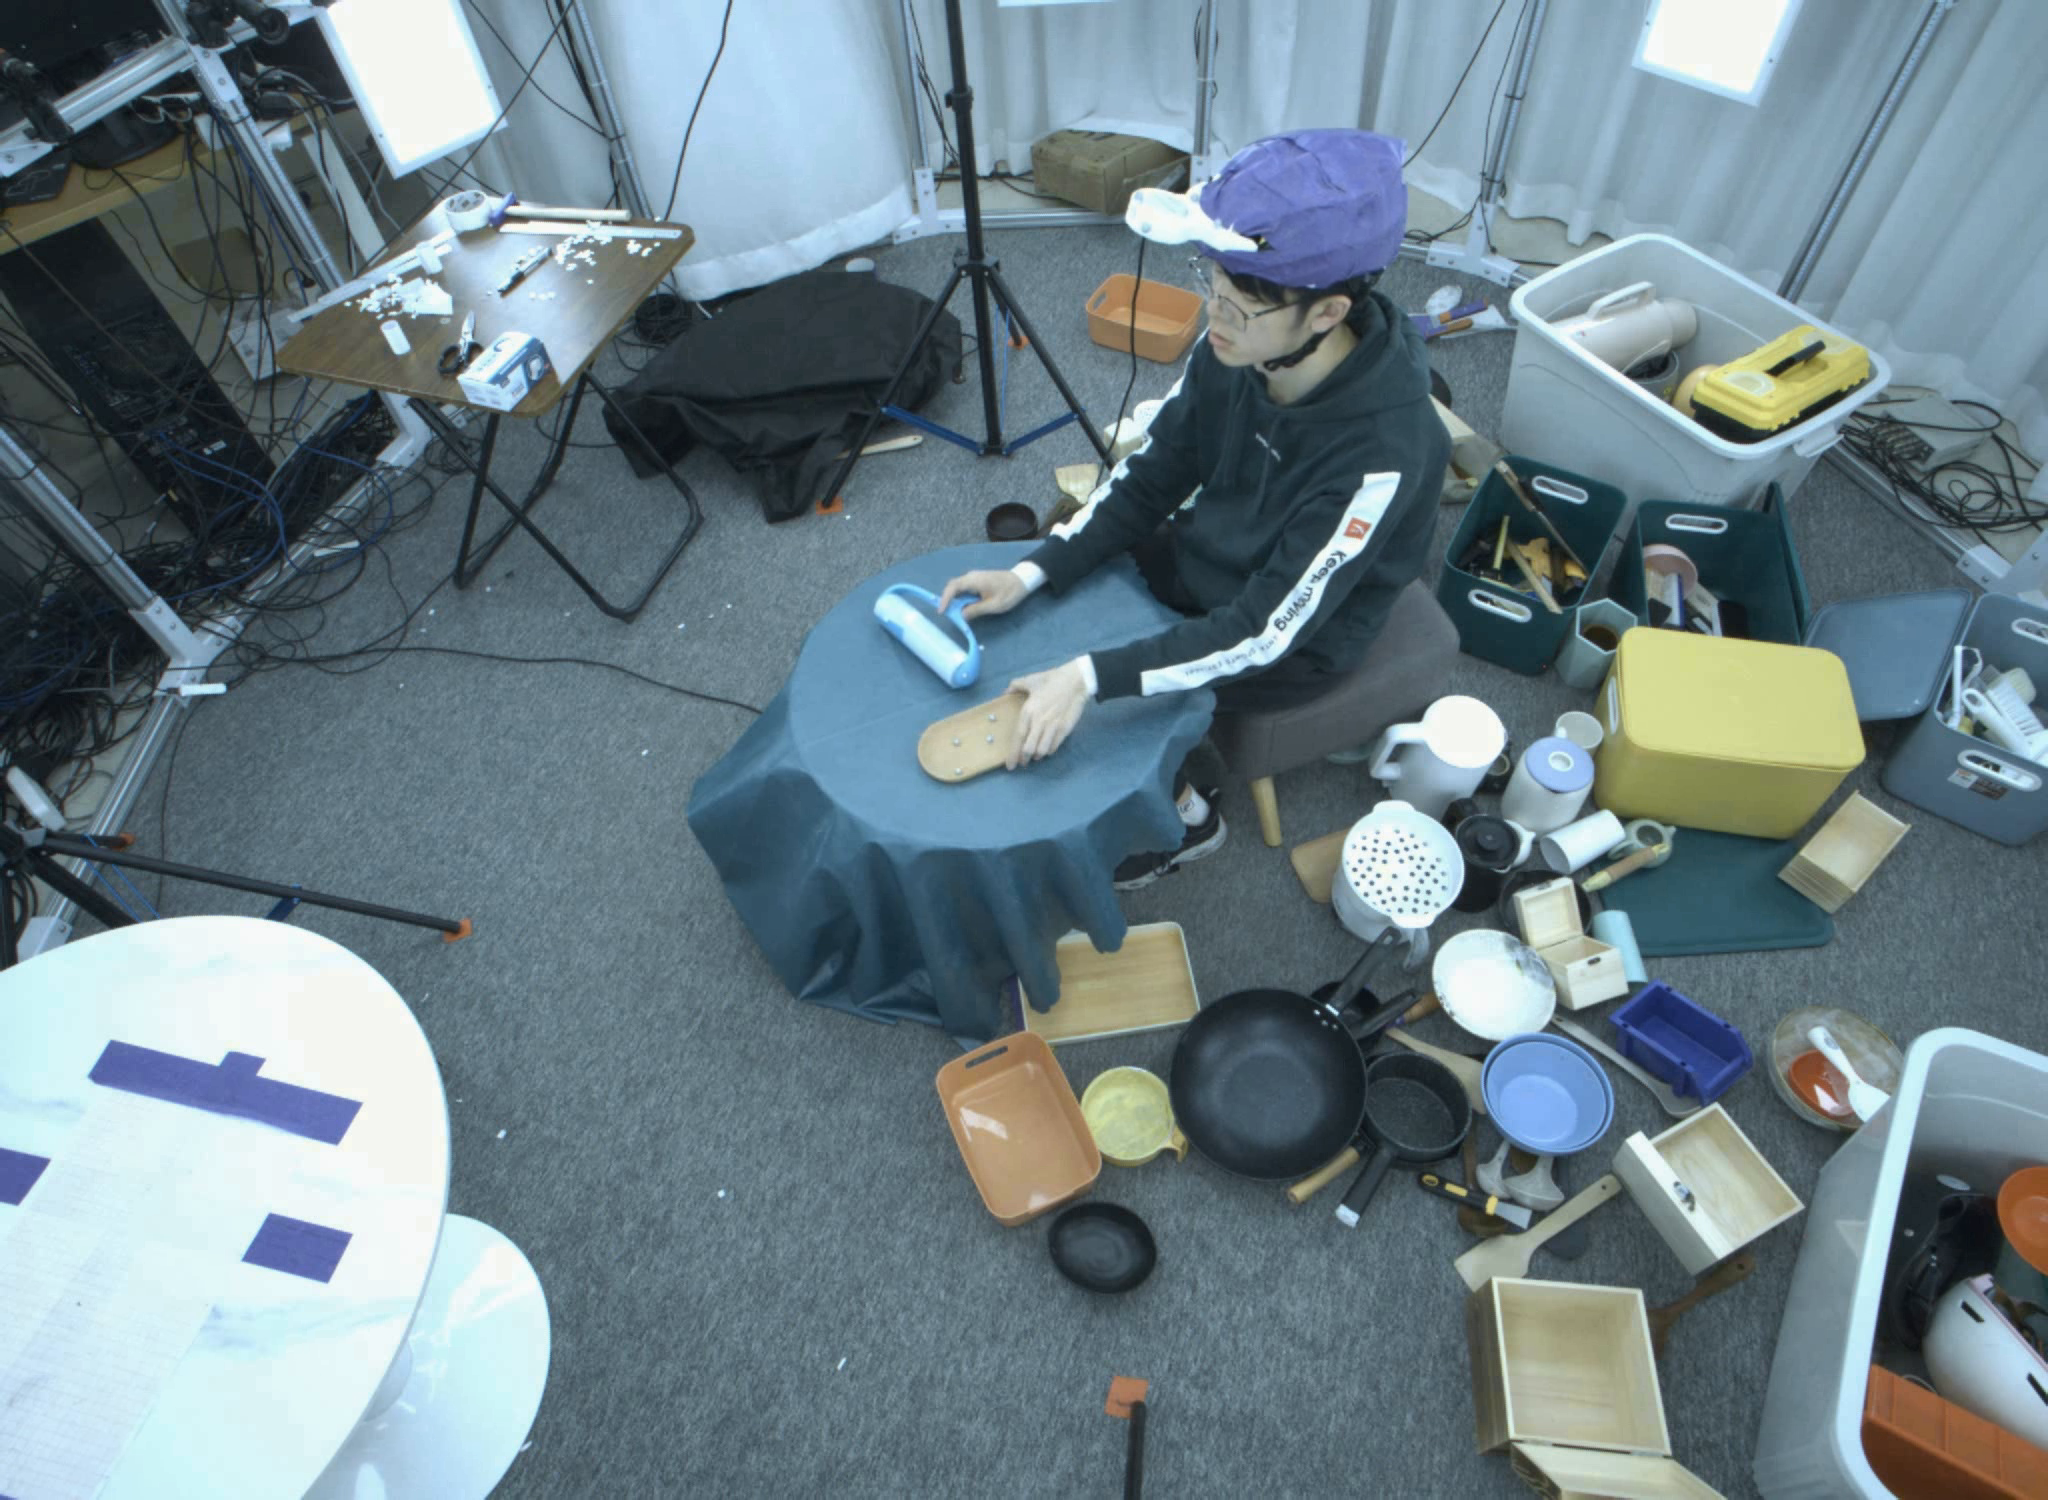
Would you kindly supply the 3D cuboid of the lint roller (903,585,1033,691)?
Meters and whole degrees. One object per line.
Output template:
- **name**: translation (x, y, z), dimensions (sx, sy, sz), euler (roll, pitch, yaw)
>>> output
- **lint roller**: translation (-0.064, -0.201, 1.890), dimensions (0.181, 0.069, 0.224), euler (-38, 59, -20)

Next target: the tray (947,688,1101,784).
- **tray**: translation (0.001, -0.020, 1.775), dimensions (0.232, 0.020, 0.100), euler (-21, 66, -10)
